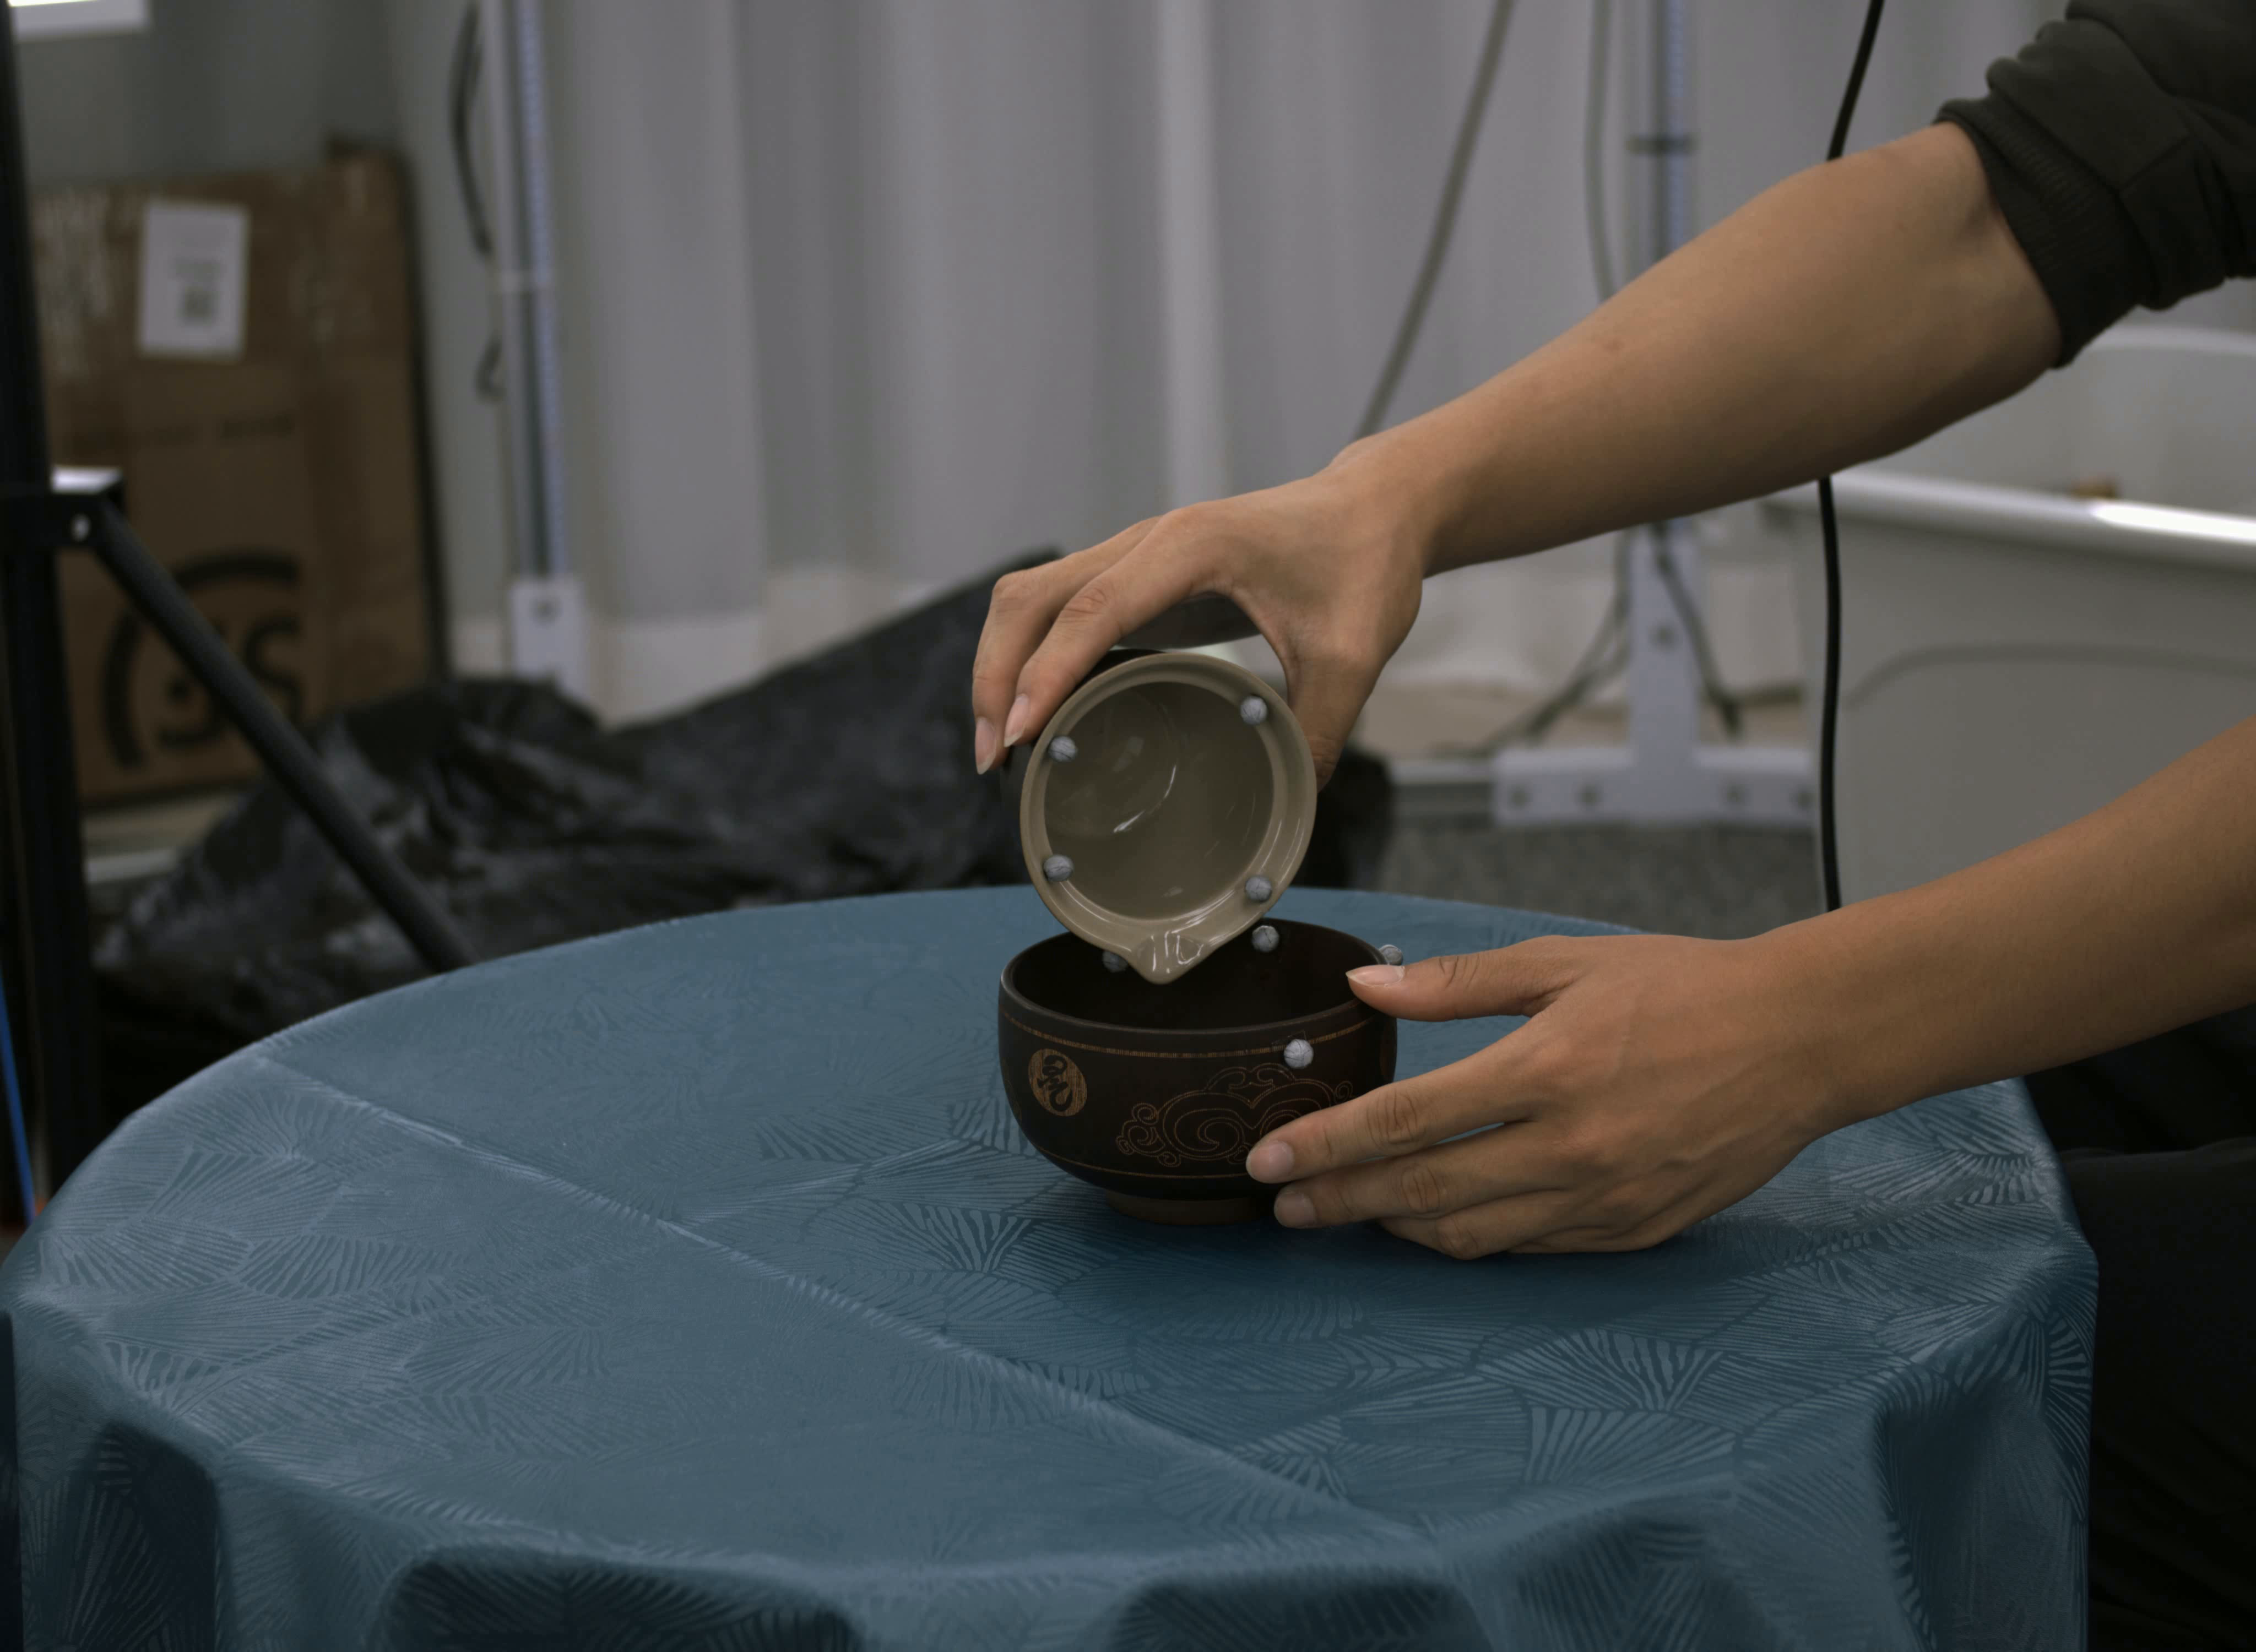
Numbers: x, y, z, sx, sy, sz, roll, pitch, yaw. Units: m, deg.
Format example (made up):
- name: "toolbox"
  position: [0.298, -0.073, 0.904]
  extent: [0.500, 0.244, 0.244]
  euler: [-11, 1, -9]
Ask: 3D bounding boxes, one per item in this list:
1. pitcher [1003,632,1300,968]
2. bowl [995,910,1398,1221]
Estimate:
- name: "pitcher"
  position: [0.001, -0.014, 1.585]
  extent: [0.082, 0.096, 0.073]
  euler: [3, 15, -23]
- name: "bowl"
  position: [0.021, 0.074, 1.549]
  extent: [0.117, 0.070, 0.118]
  euler: [-5, 15, 0]
